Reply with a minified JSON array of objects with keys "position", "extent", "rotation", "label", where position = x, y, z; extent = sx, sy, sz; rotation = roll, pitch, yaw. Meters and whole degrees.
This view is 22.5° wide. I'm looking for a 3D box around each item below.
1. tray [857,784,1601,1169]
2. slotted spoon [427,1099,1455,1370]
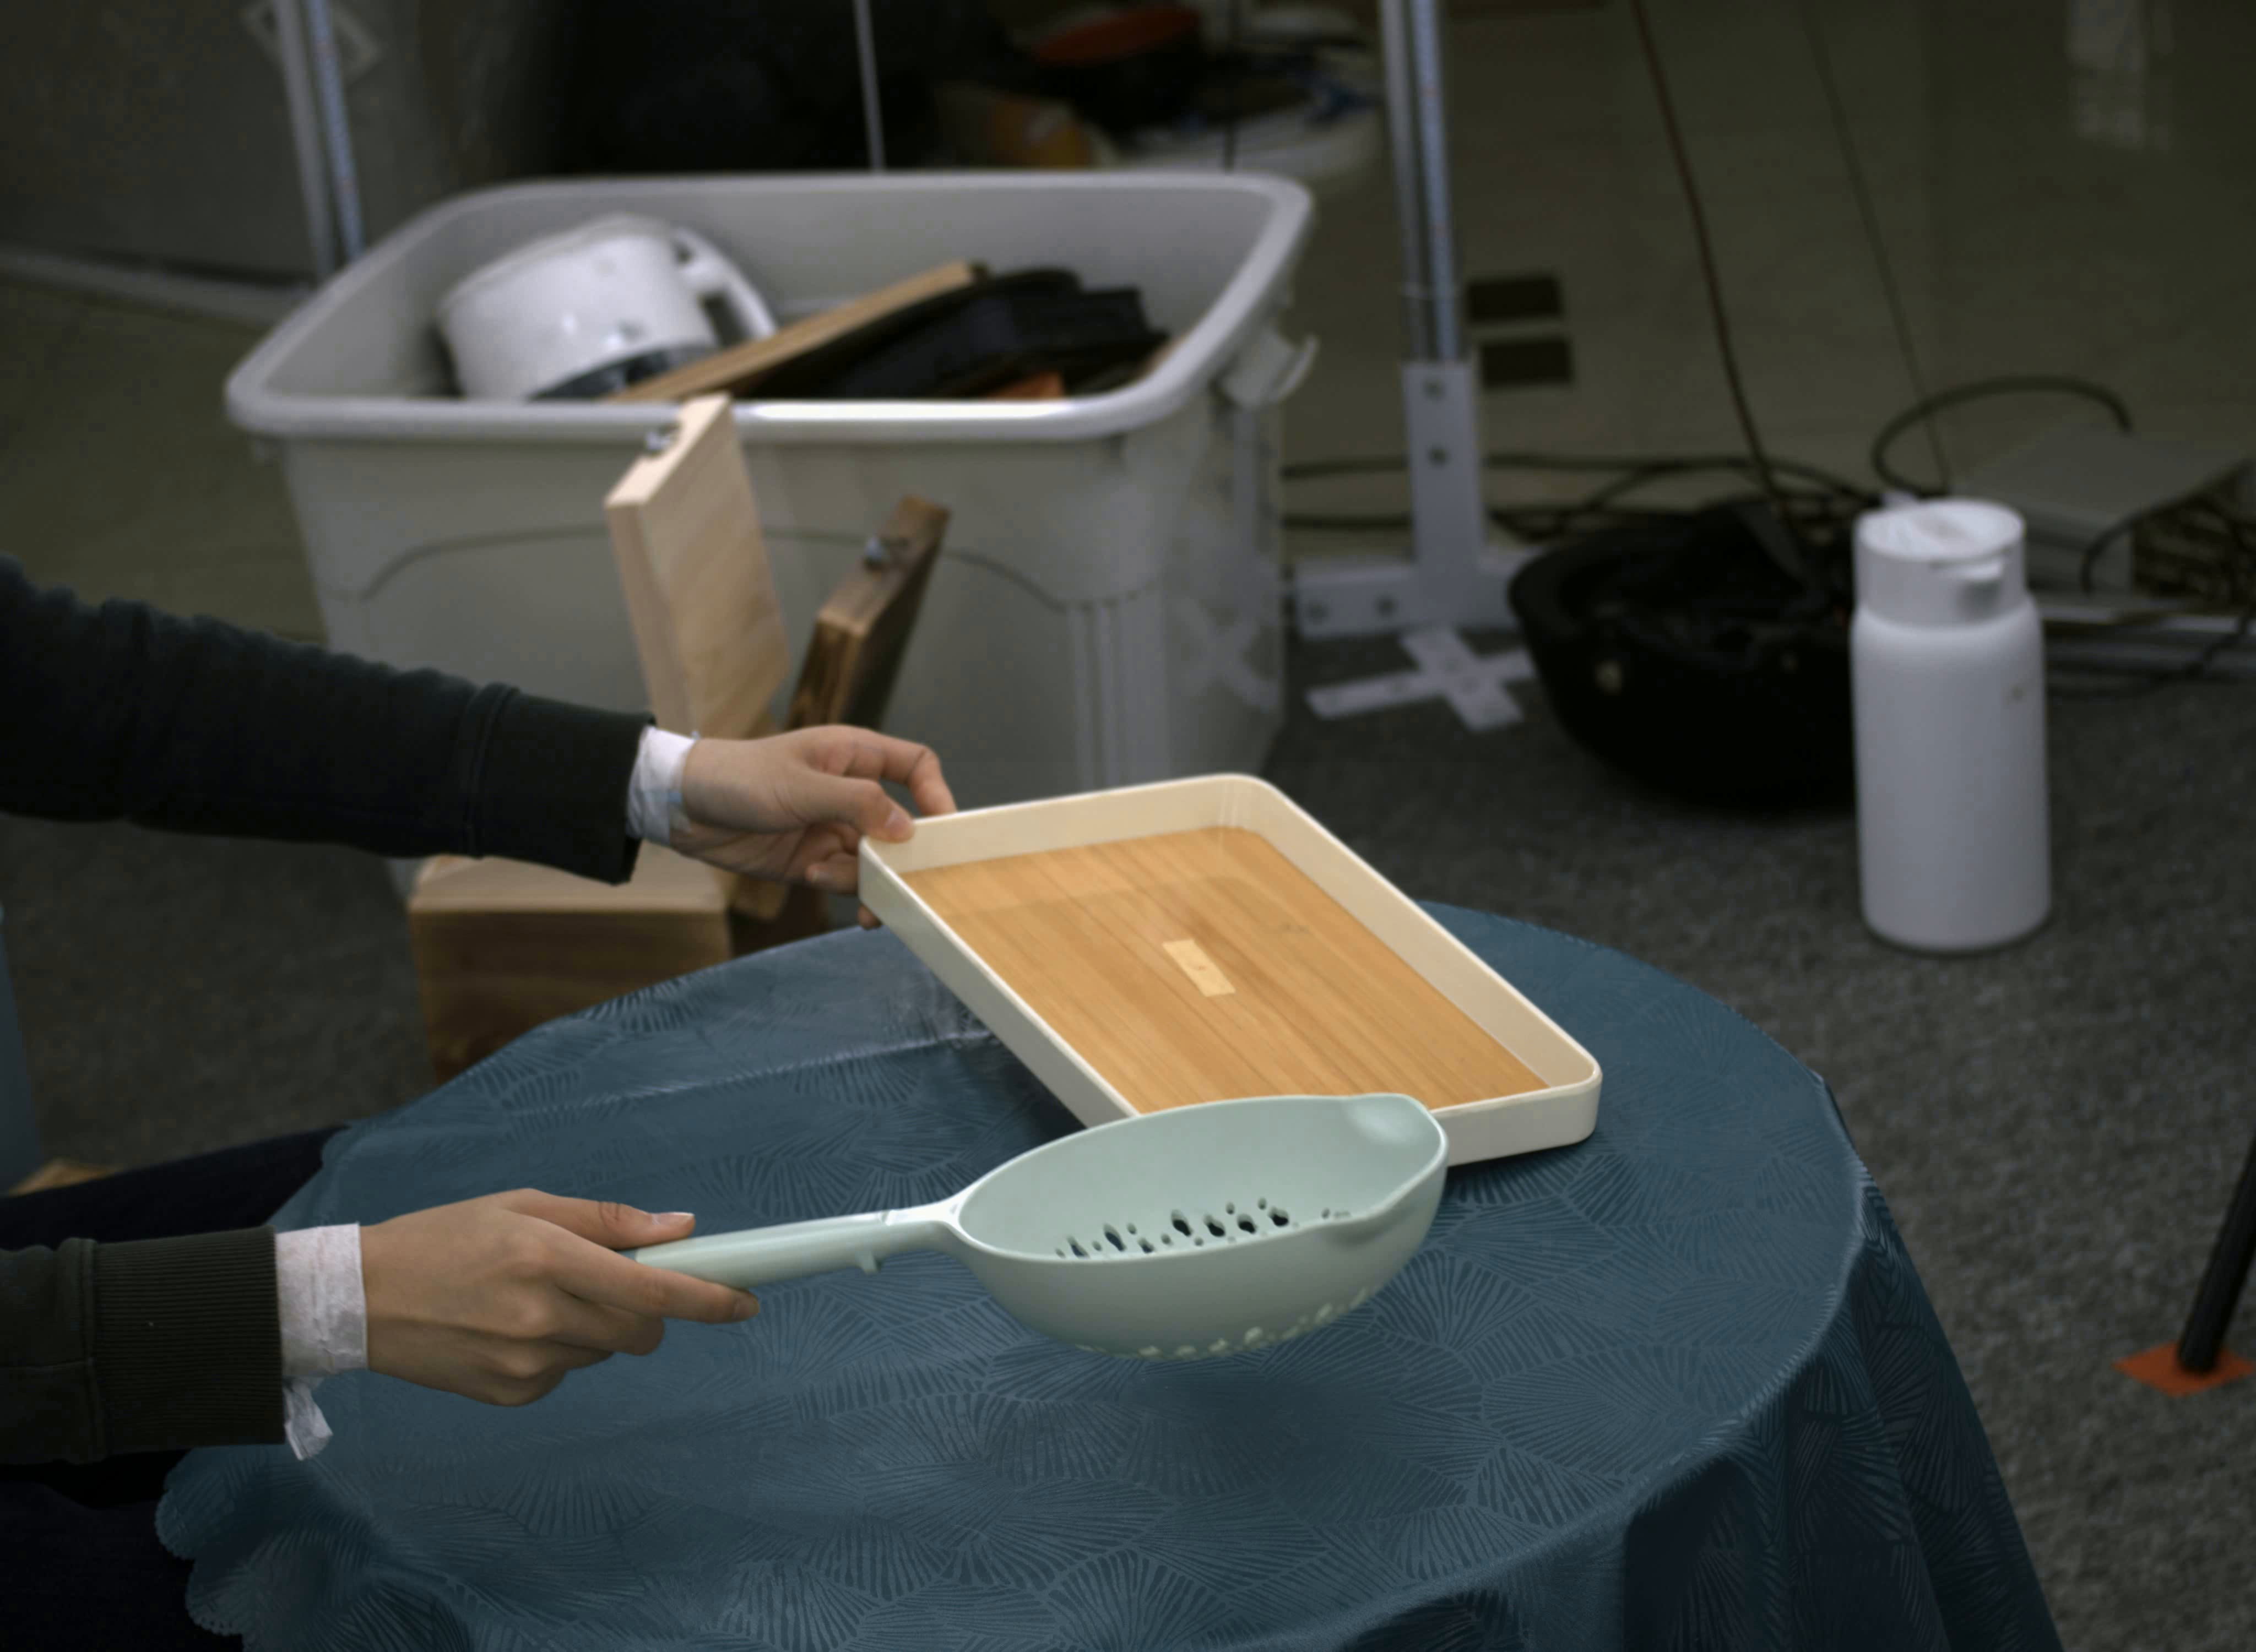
[{"position":[0.034,0.062,2.224],"extent":[0.191,0.028,0.296],"rotation":[-8,27,-26],"label":"tray"},{"position":[-0.067,0.146,1.948],"extent":[0.358,0.076,0.168],"rotation":[0,14,6],"label":"slotted spoon"}]
